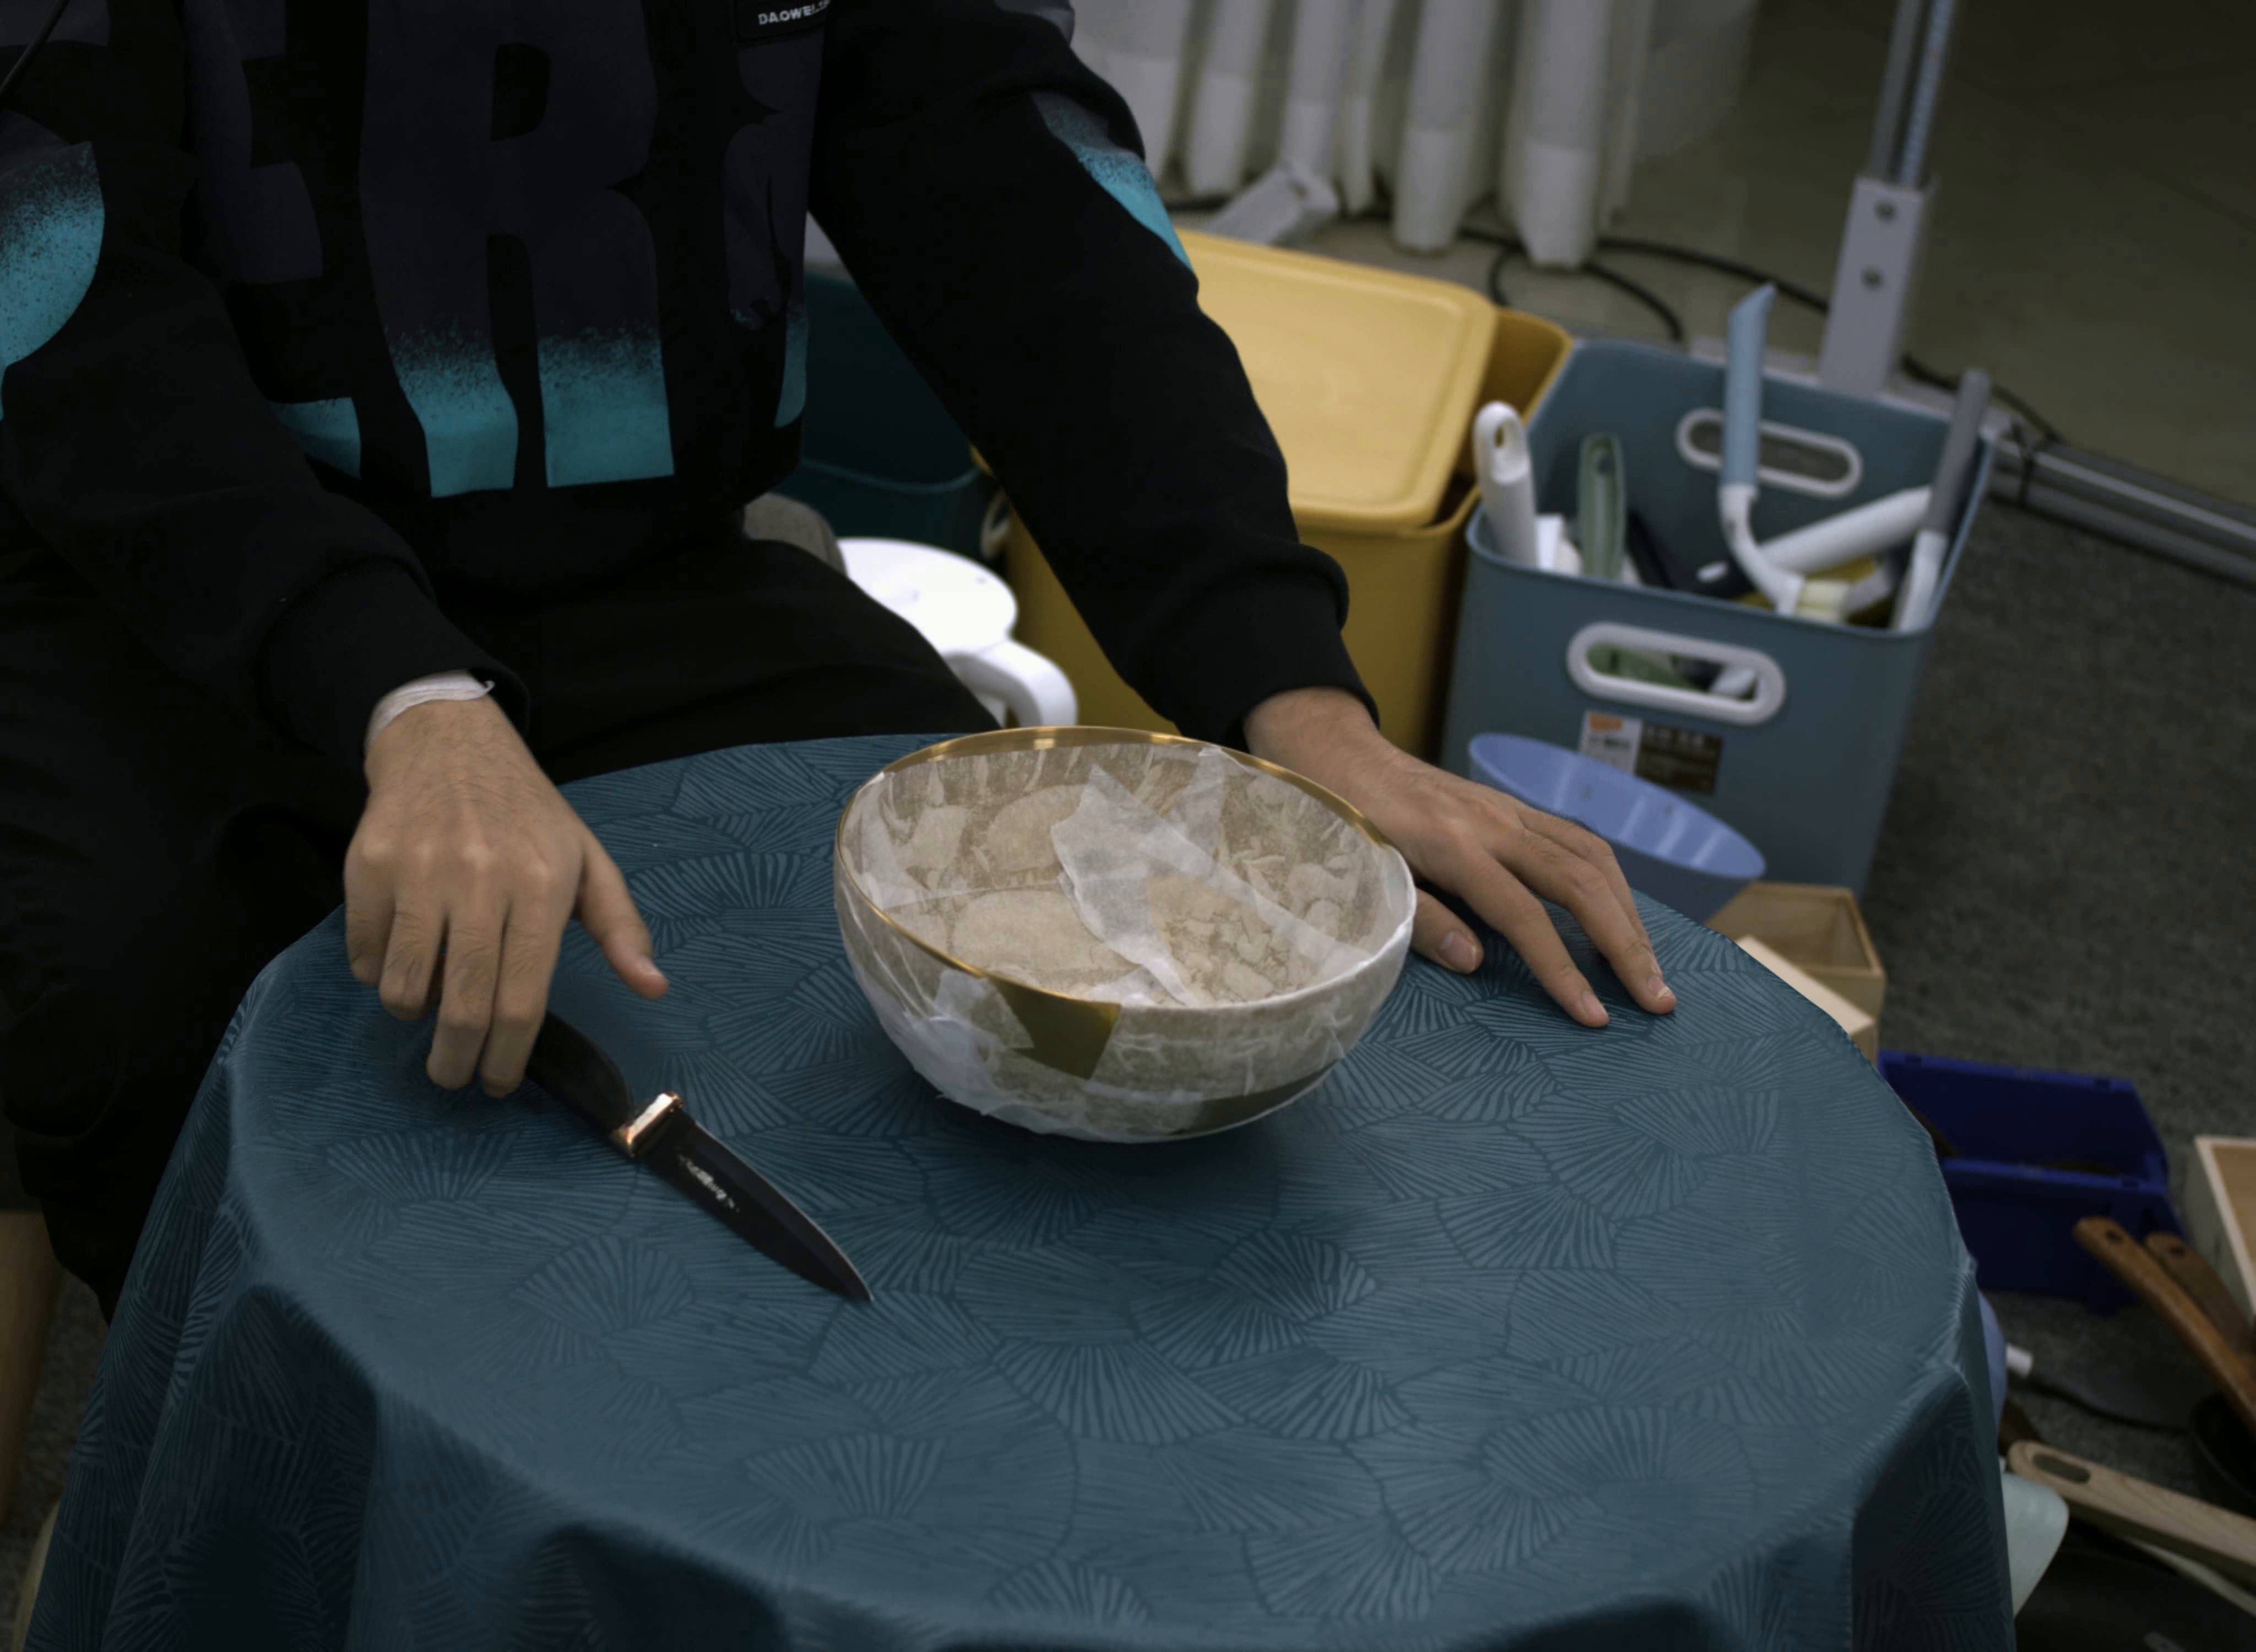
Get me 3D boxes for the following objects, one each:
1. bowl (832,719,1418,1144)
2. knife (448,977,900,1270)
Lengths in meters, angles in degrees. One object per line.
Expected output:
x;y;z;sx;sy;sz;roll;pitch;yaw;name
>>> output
-0.006;0.047;1.846;0.214;0.094;0.216;4;28;-3;bowl
-0.155;0.102;1.785;0.227;0.017;0.026;30;74;38;knife
